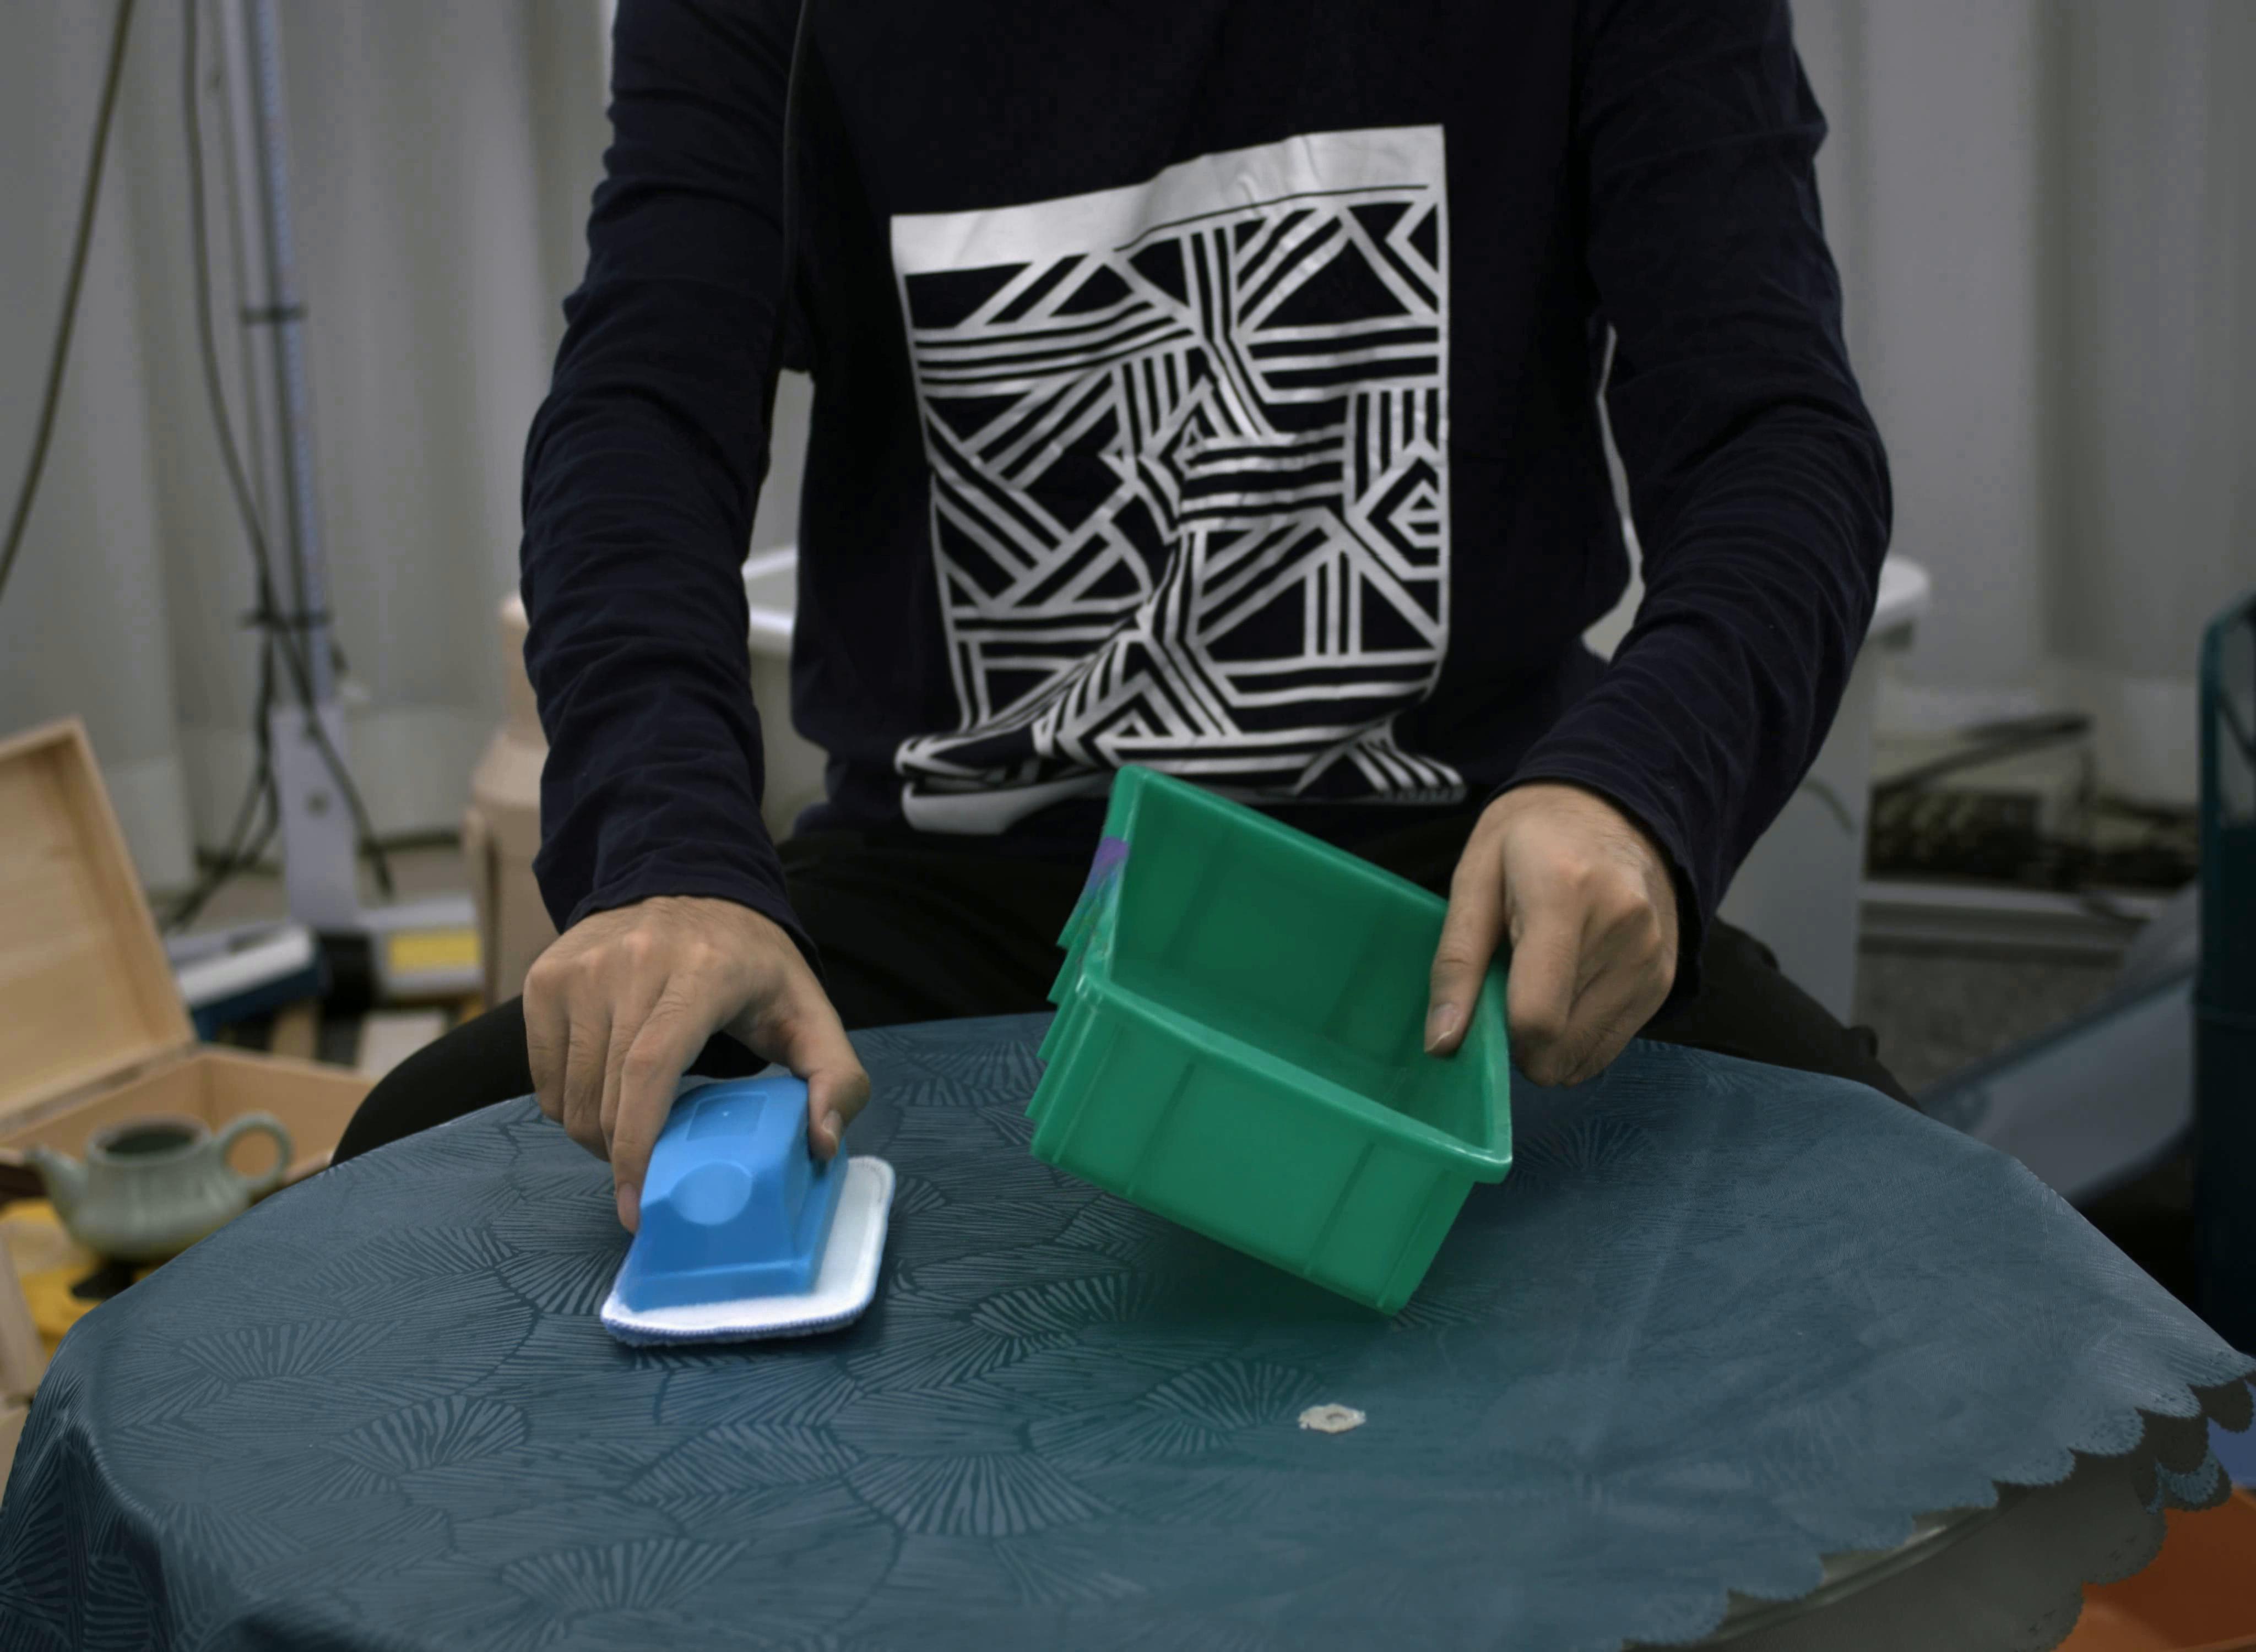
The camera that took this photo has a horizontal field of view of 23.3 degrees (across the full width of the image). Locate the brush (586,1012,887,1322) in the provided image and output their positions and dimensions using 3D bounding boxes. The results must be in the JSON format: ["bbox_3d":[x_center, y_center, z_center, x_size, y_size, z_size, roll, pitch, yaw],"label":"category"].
[{"bbox_3d":[-0.119,0.099,1.652,0.083,0.055,0.145,-7,24,5],"label":"brush"}]

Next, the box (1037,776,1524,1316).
[{"bbox_3d":[0.042,0.066,1.653,0.138,0.065,0.212,22,18,-5],"label":"box"}]
